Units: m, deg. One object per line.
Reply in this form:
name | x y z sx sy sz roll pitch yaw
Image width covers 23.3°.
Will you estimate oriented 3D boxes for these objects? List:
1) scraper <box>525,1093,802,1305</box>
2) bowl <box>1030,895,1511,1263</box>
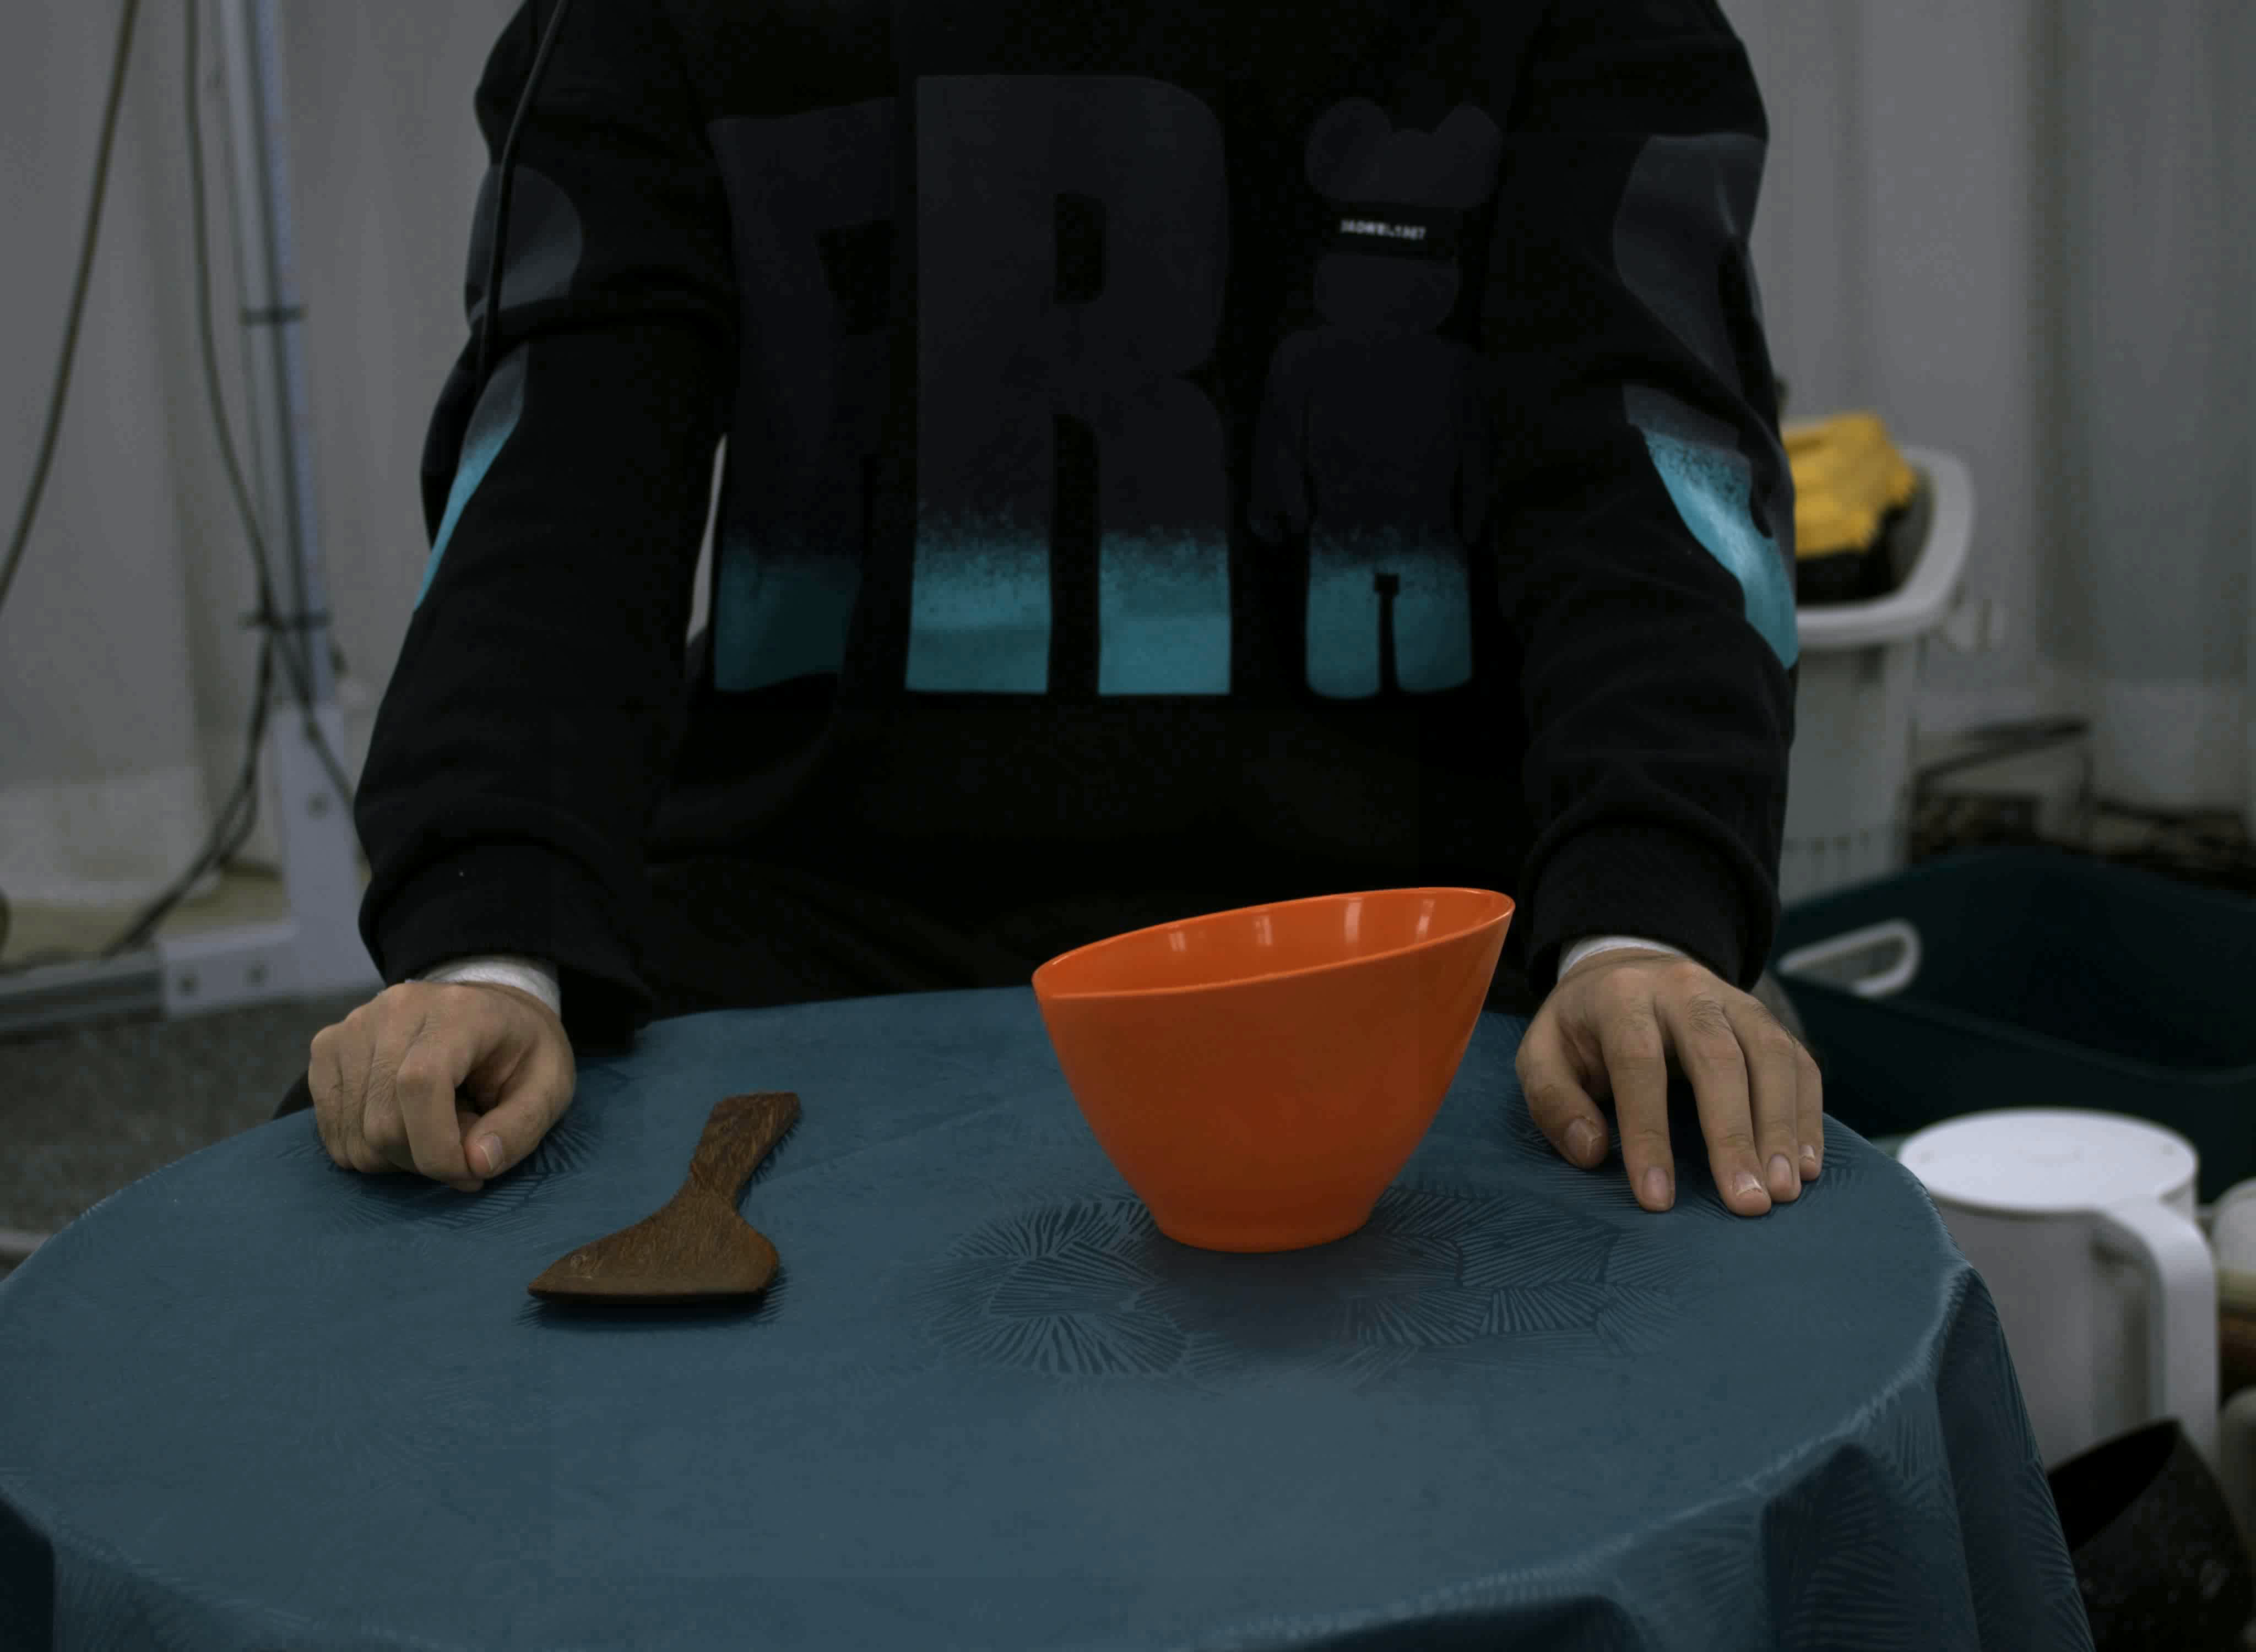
scraper | -0.132 0.117 1.718 0.075 0.011 0.212 0 14 7
bowl | 0.045 0.076 1.662 0.147 0.104 0.149 -4 13 1
